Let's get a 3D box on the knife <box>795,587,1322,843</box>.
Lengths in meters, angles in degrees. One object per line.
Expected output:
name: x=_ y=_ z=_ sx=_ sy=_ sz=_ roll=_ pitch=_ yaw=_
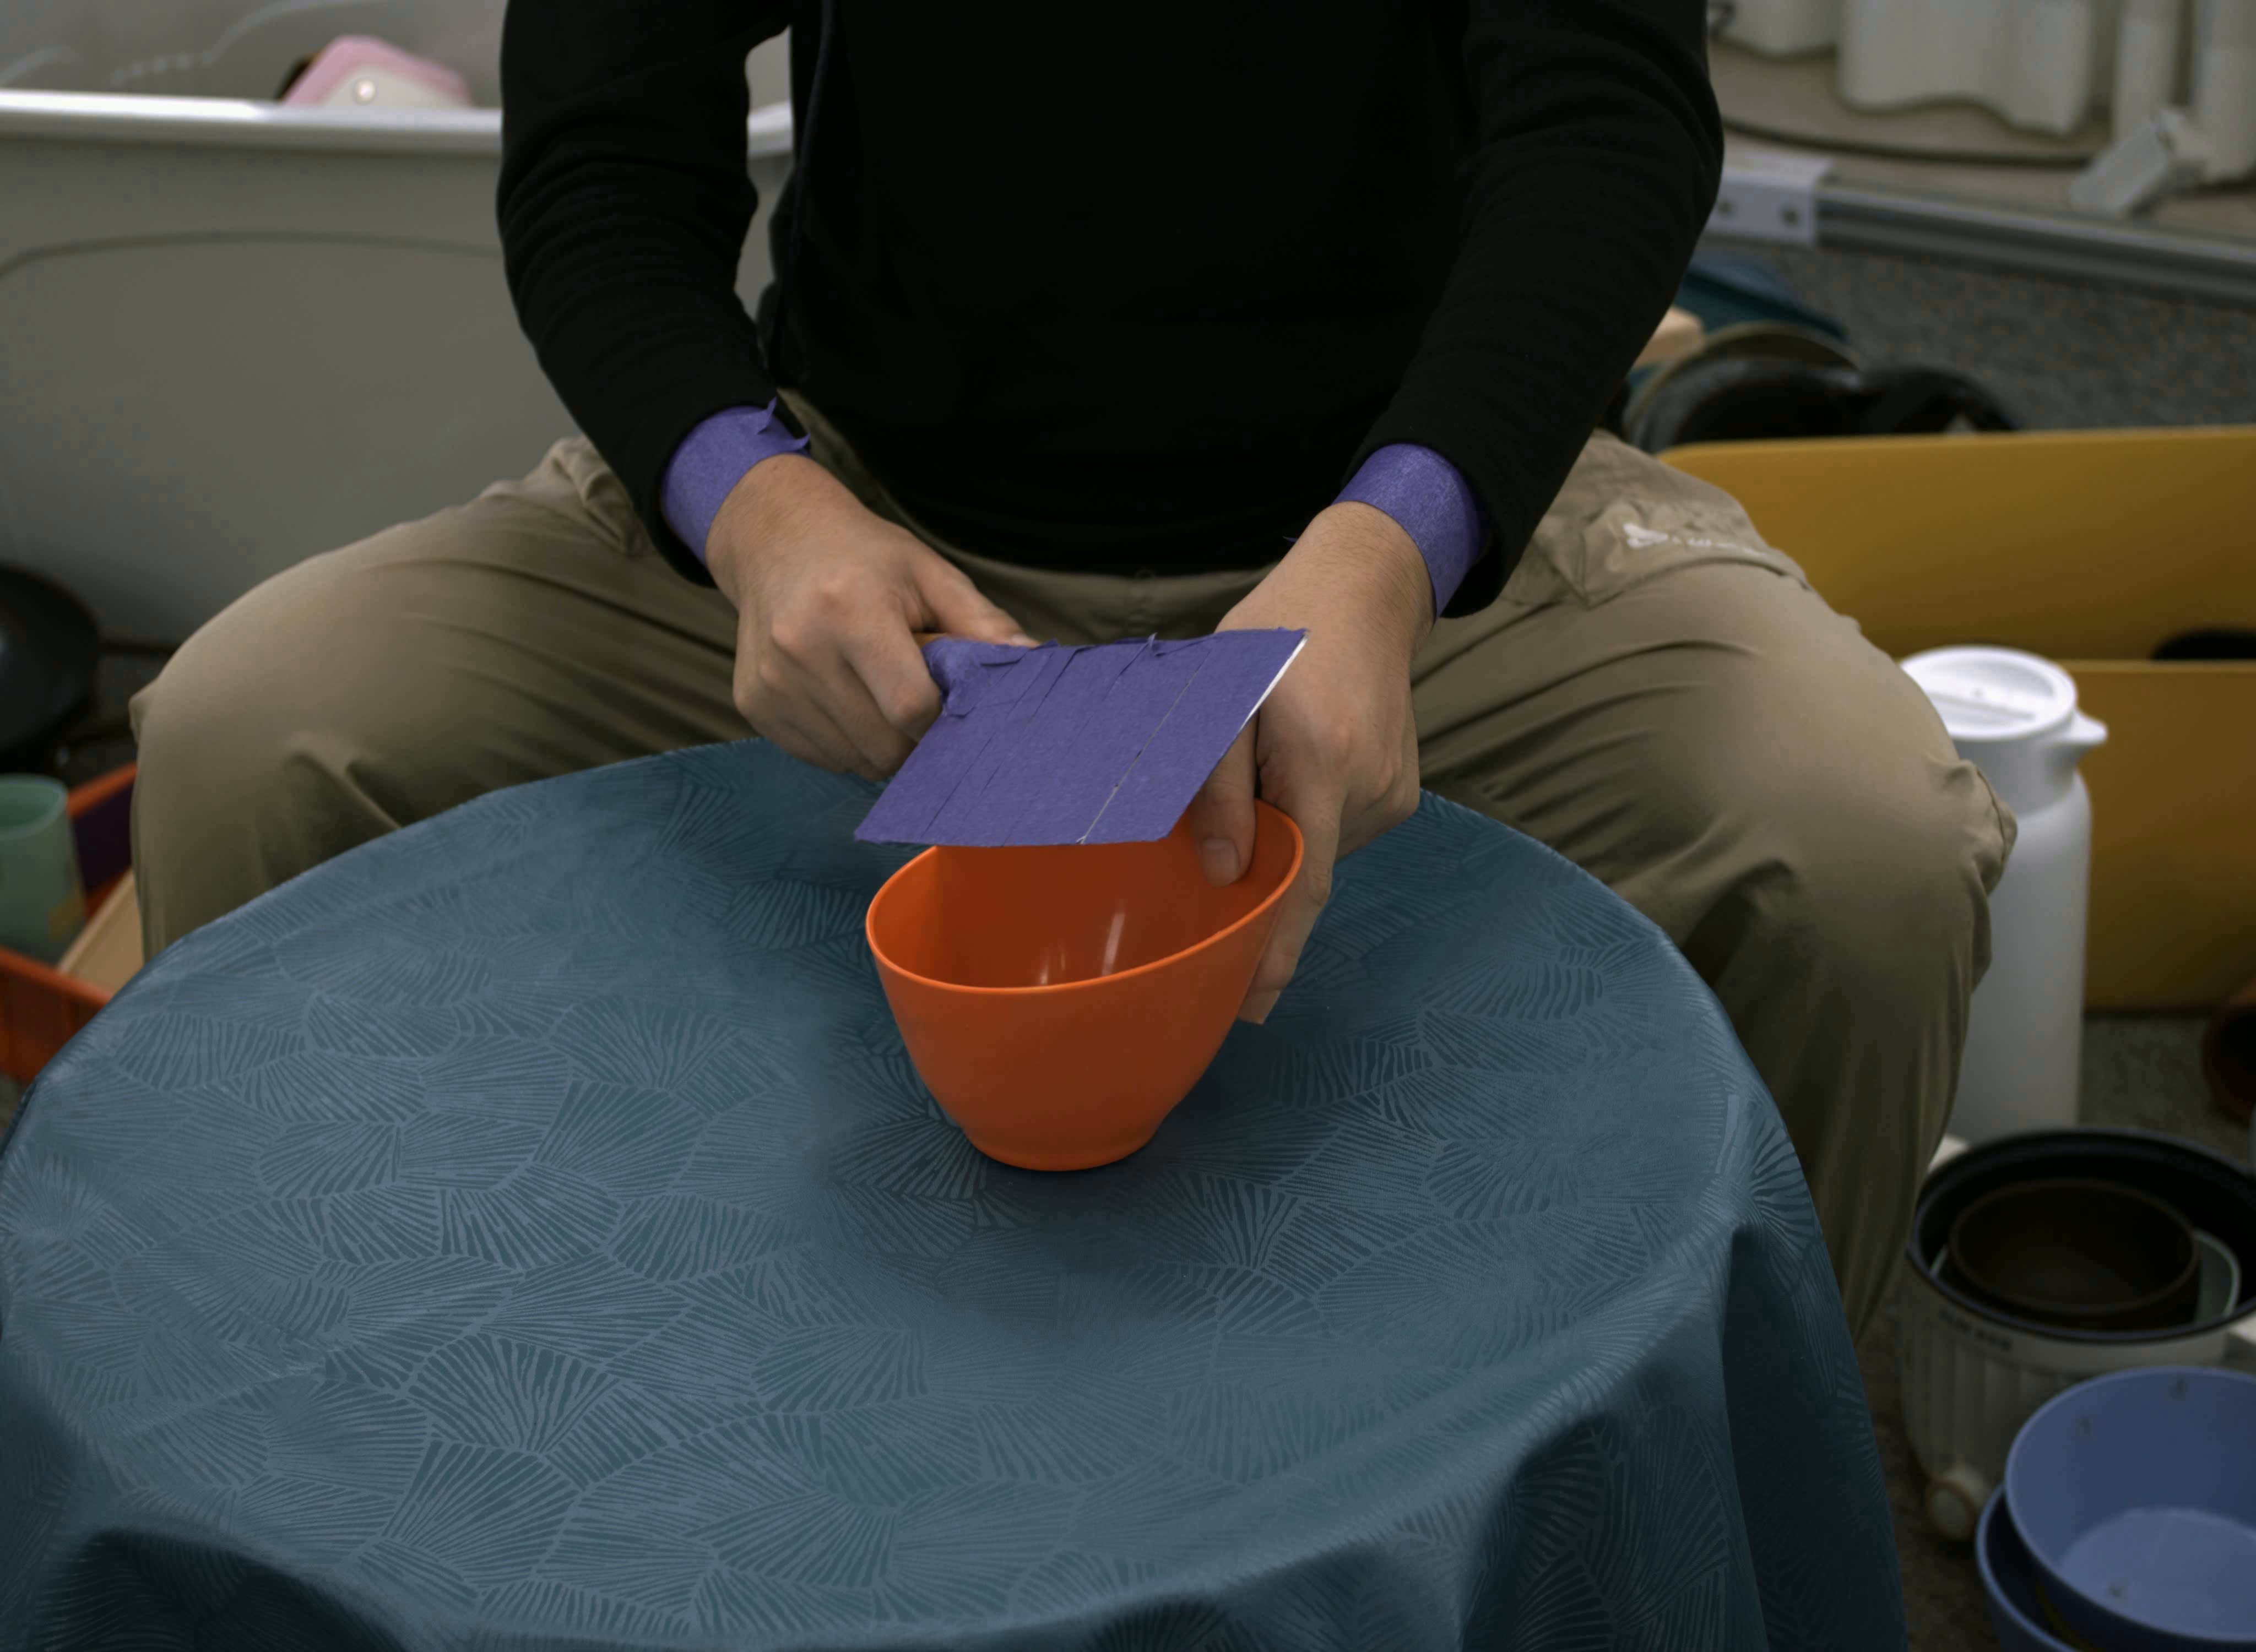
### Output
knife: x=-0.046 y=-0.034 z=1.936 sx=0.105 sy=0.032 sz=0.312 roll=-54 pitch=23 yaw=-22

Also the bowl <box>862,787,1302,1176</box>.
bowl: x=-0.014 y=0.057 z=1.875 sx=0.147 sy=0.103 sz=0.150 roll=-2 pitch=27 yaw=1
